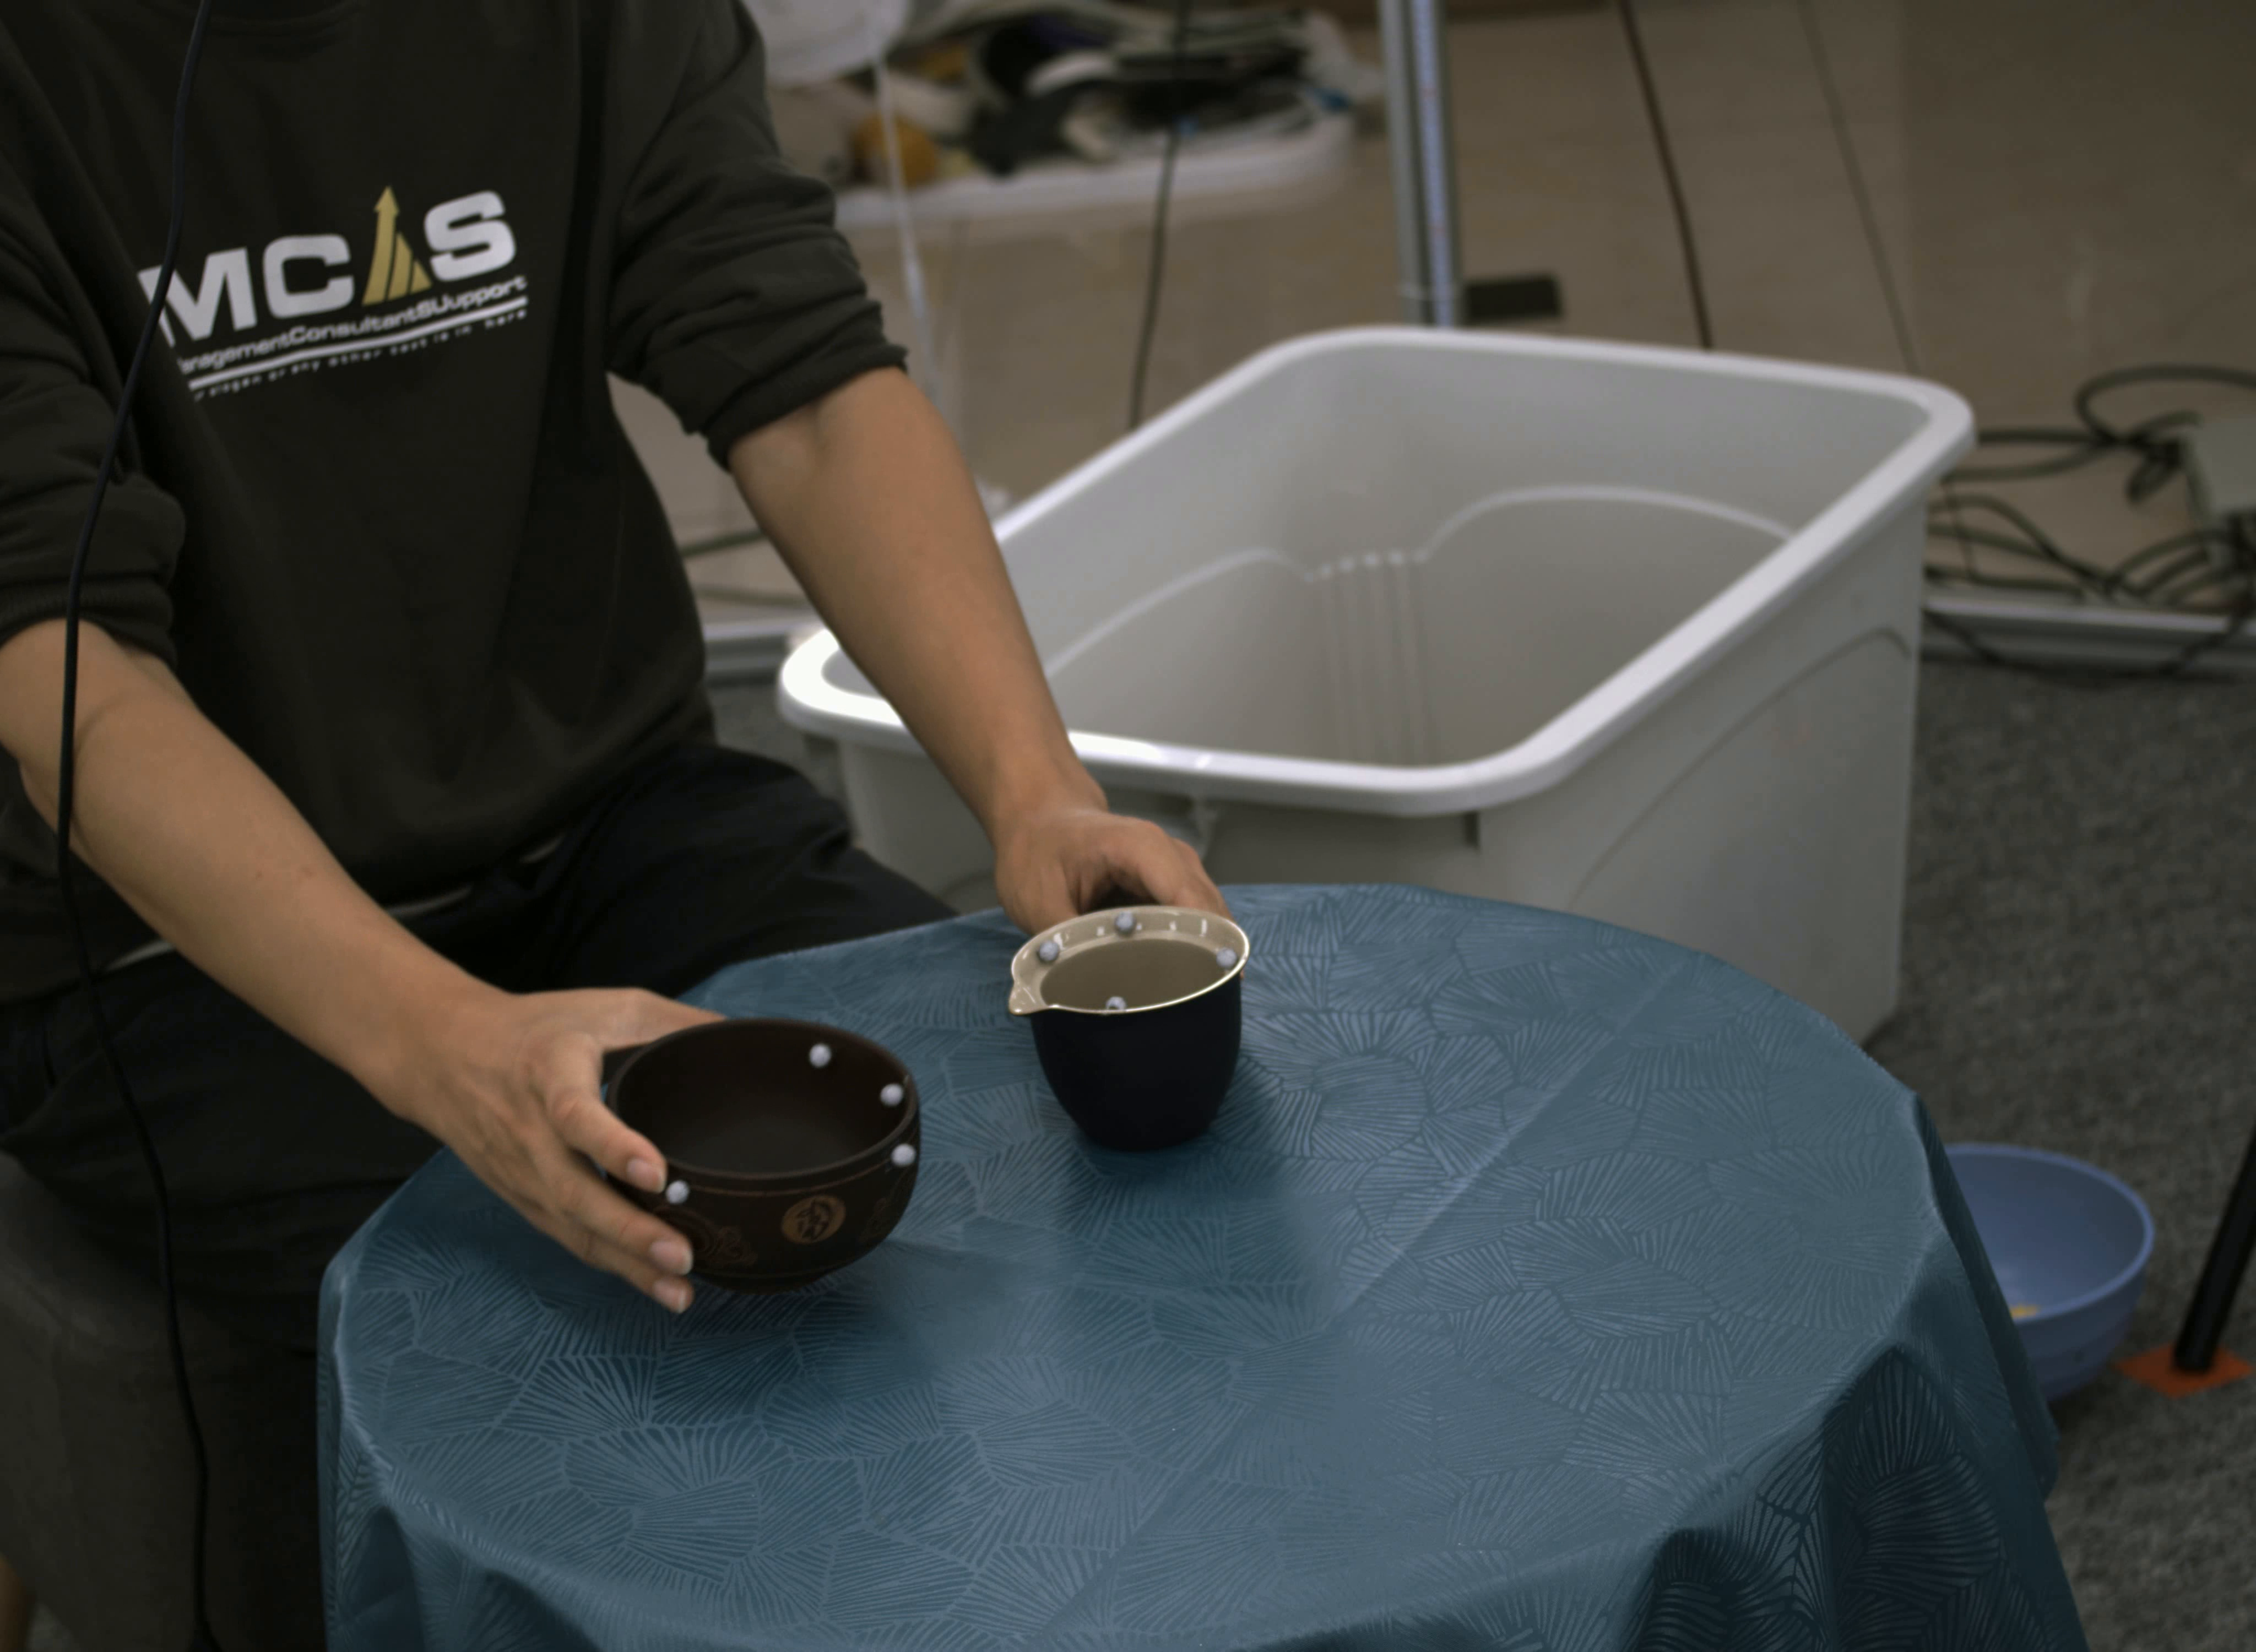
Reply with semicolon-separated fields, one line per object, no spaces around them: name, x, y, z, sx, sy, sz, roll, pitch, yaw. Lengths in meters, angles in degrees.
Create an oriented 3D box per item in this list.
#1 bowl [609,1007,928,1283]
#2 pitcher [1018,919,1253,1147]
bowl;-0.132;0.124;2.087;0.118;0.071;0.116;2;28;-1
pitcher;0.004;0.082;2.181;0.095;0.072;0.082;-19;30;-22
